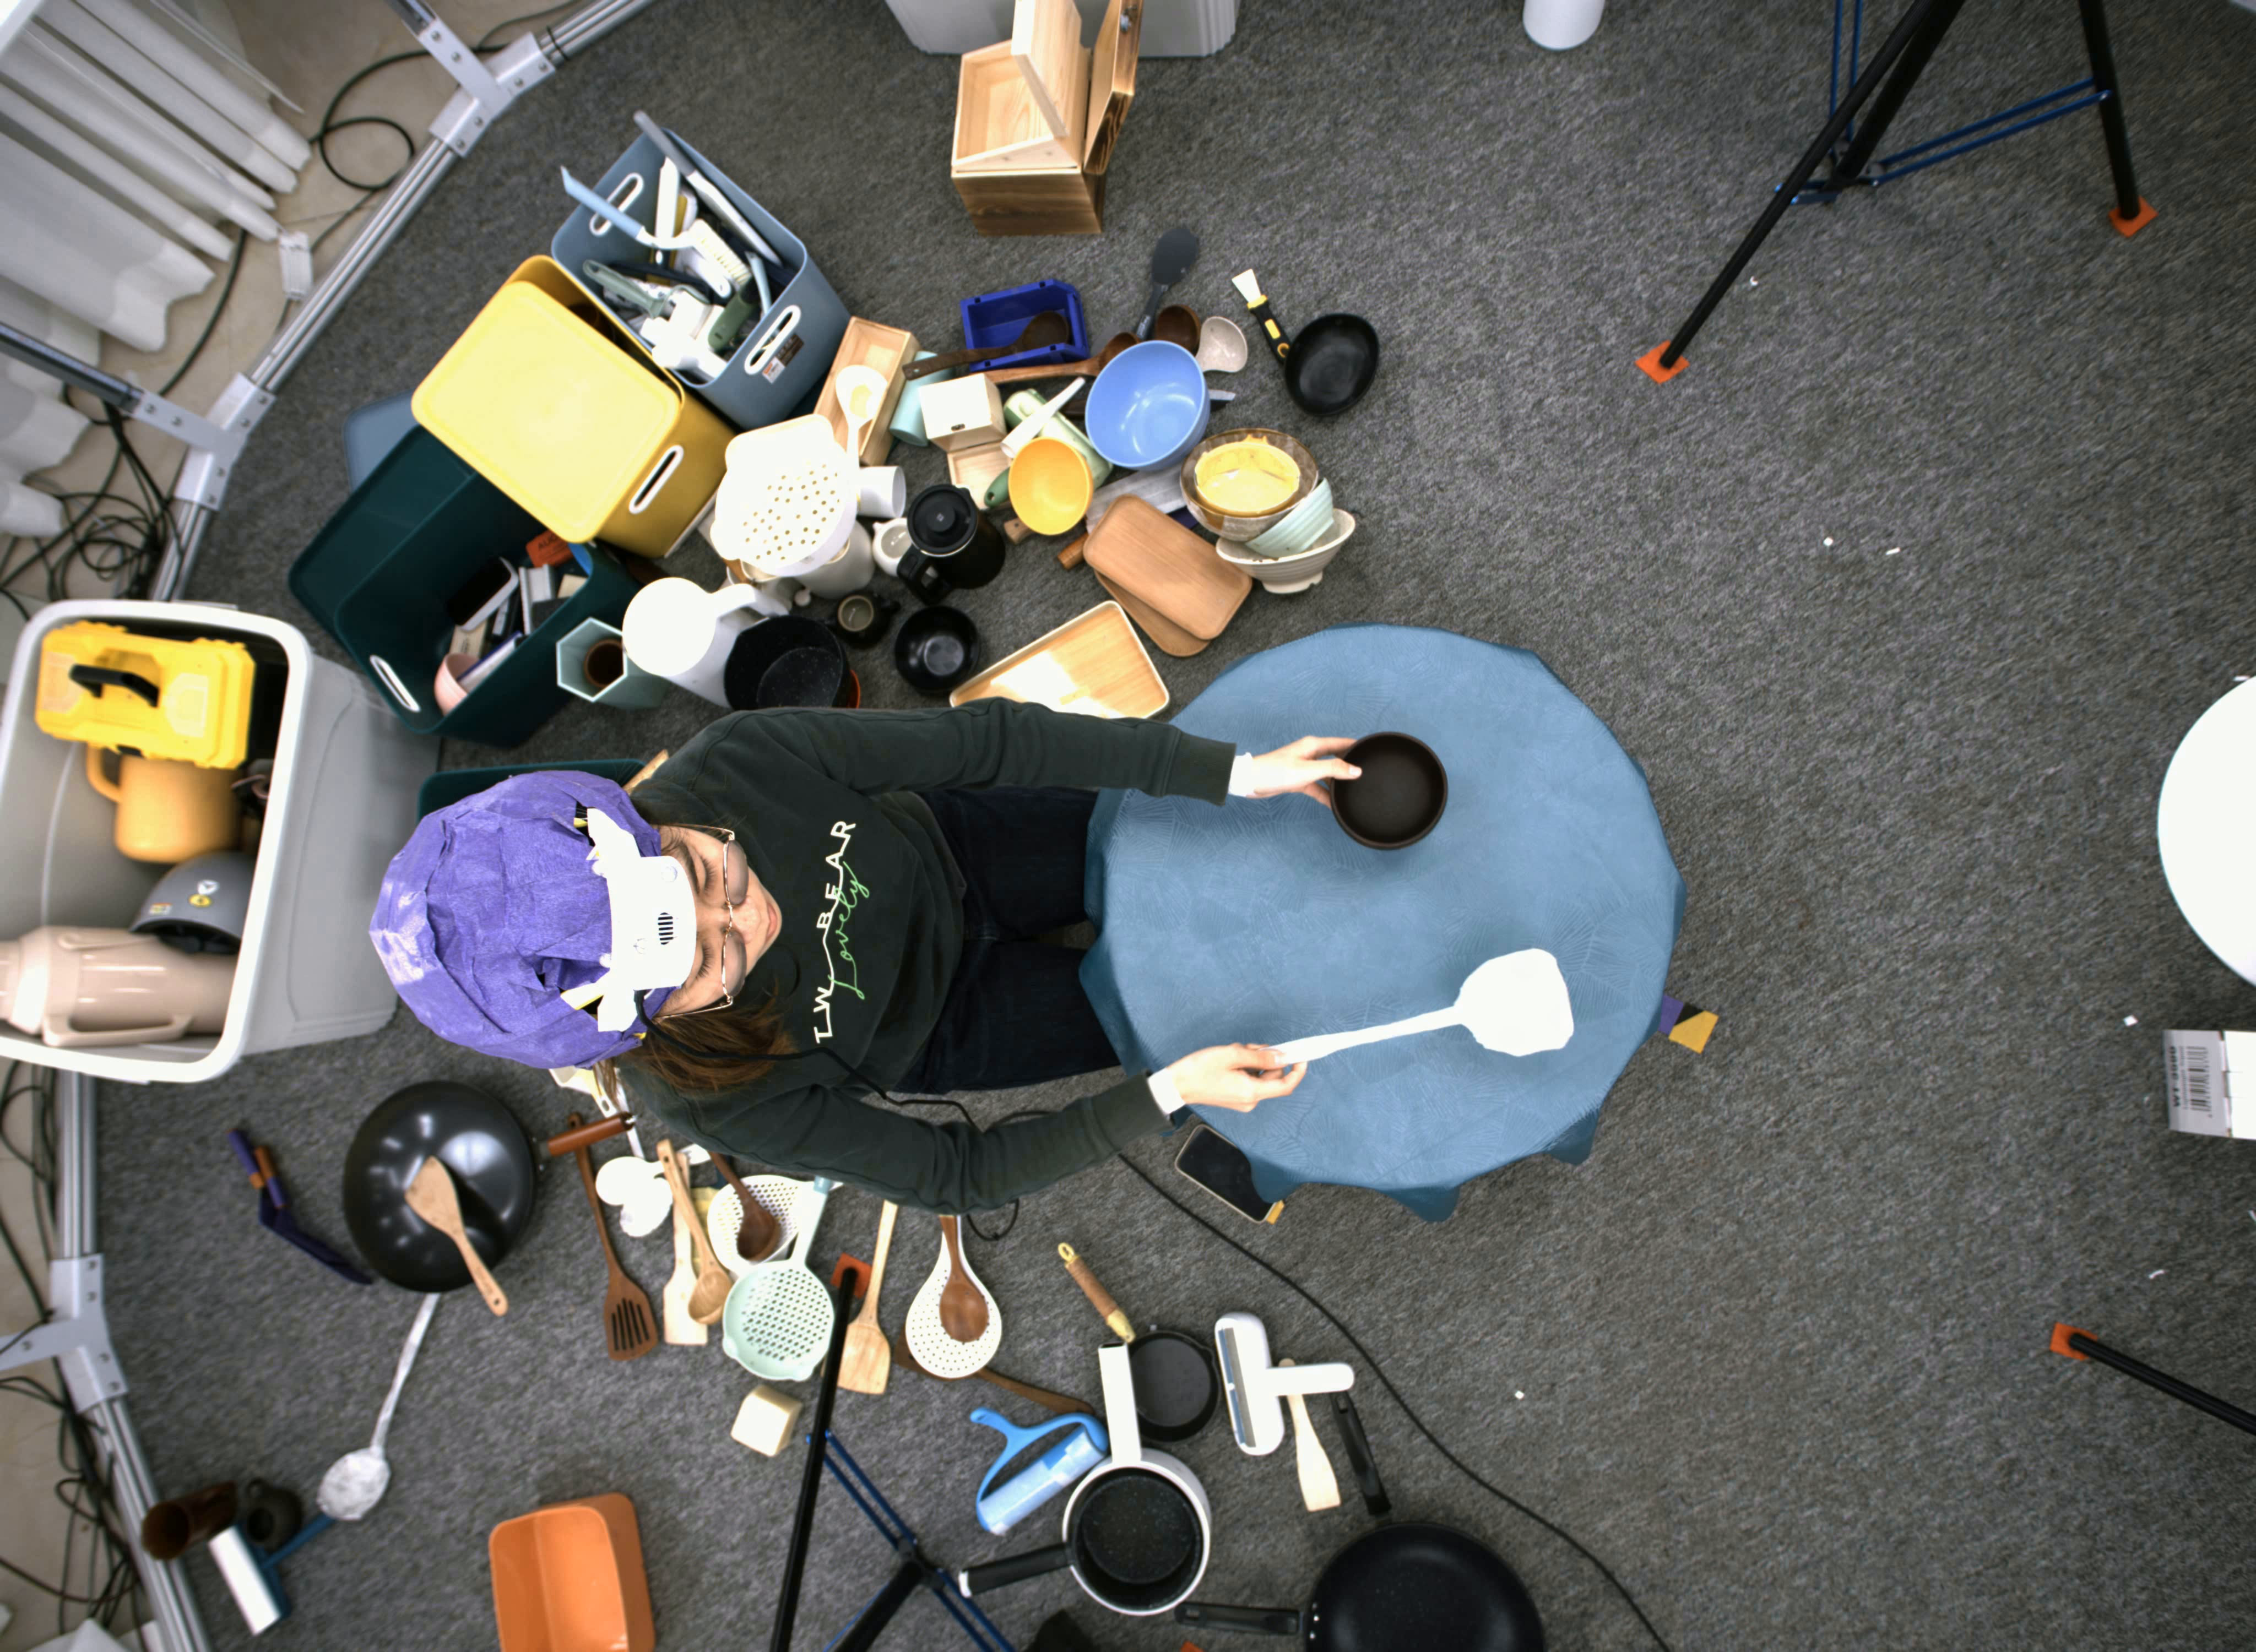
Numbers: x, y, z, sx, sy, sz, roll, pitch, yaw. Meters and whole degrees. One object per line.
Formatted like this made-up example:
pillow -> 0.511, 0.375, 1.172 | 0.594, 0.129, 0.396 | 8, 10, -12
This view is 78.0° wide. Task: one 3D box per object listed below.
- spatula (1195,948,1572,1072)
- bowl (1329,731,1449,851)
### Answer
spatula -> 0.244, 0.198, 1.344 | 0.366, 0.044, 0.098 | -13, 89, 6
bowl -> 0.260, -0.033, 1.377 | 0.118, 0.070, 0.117 | -1, 84, 12
